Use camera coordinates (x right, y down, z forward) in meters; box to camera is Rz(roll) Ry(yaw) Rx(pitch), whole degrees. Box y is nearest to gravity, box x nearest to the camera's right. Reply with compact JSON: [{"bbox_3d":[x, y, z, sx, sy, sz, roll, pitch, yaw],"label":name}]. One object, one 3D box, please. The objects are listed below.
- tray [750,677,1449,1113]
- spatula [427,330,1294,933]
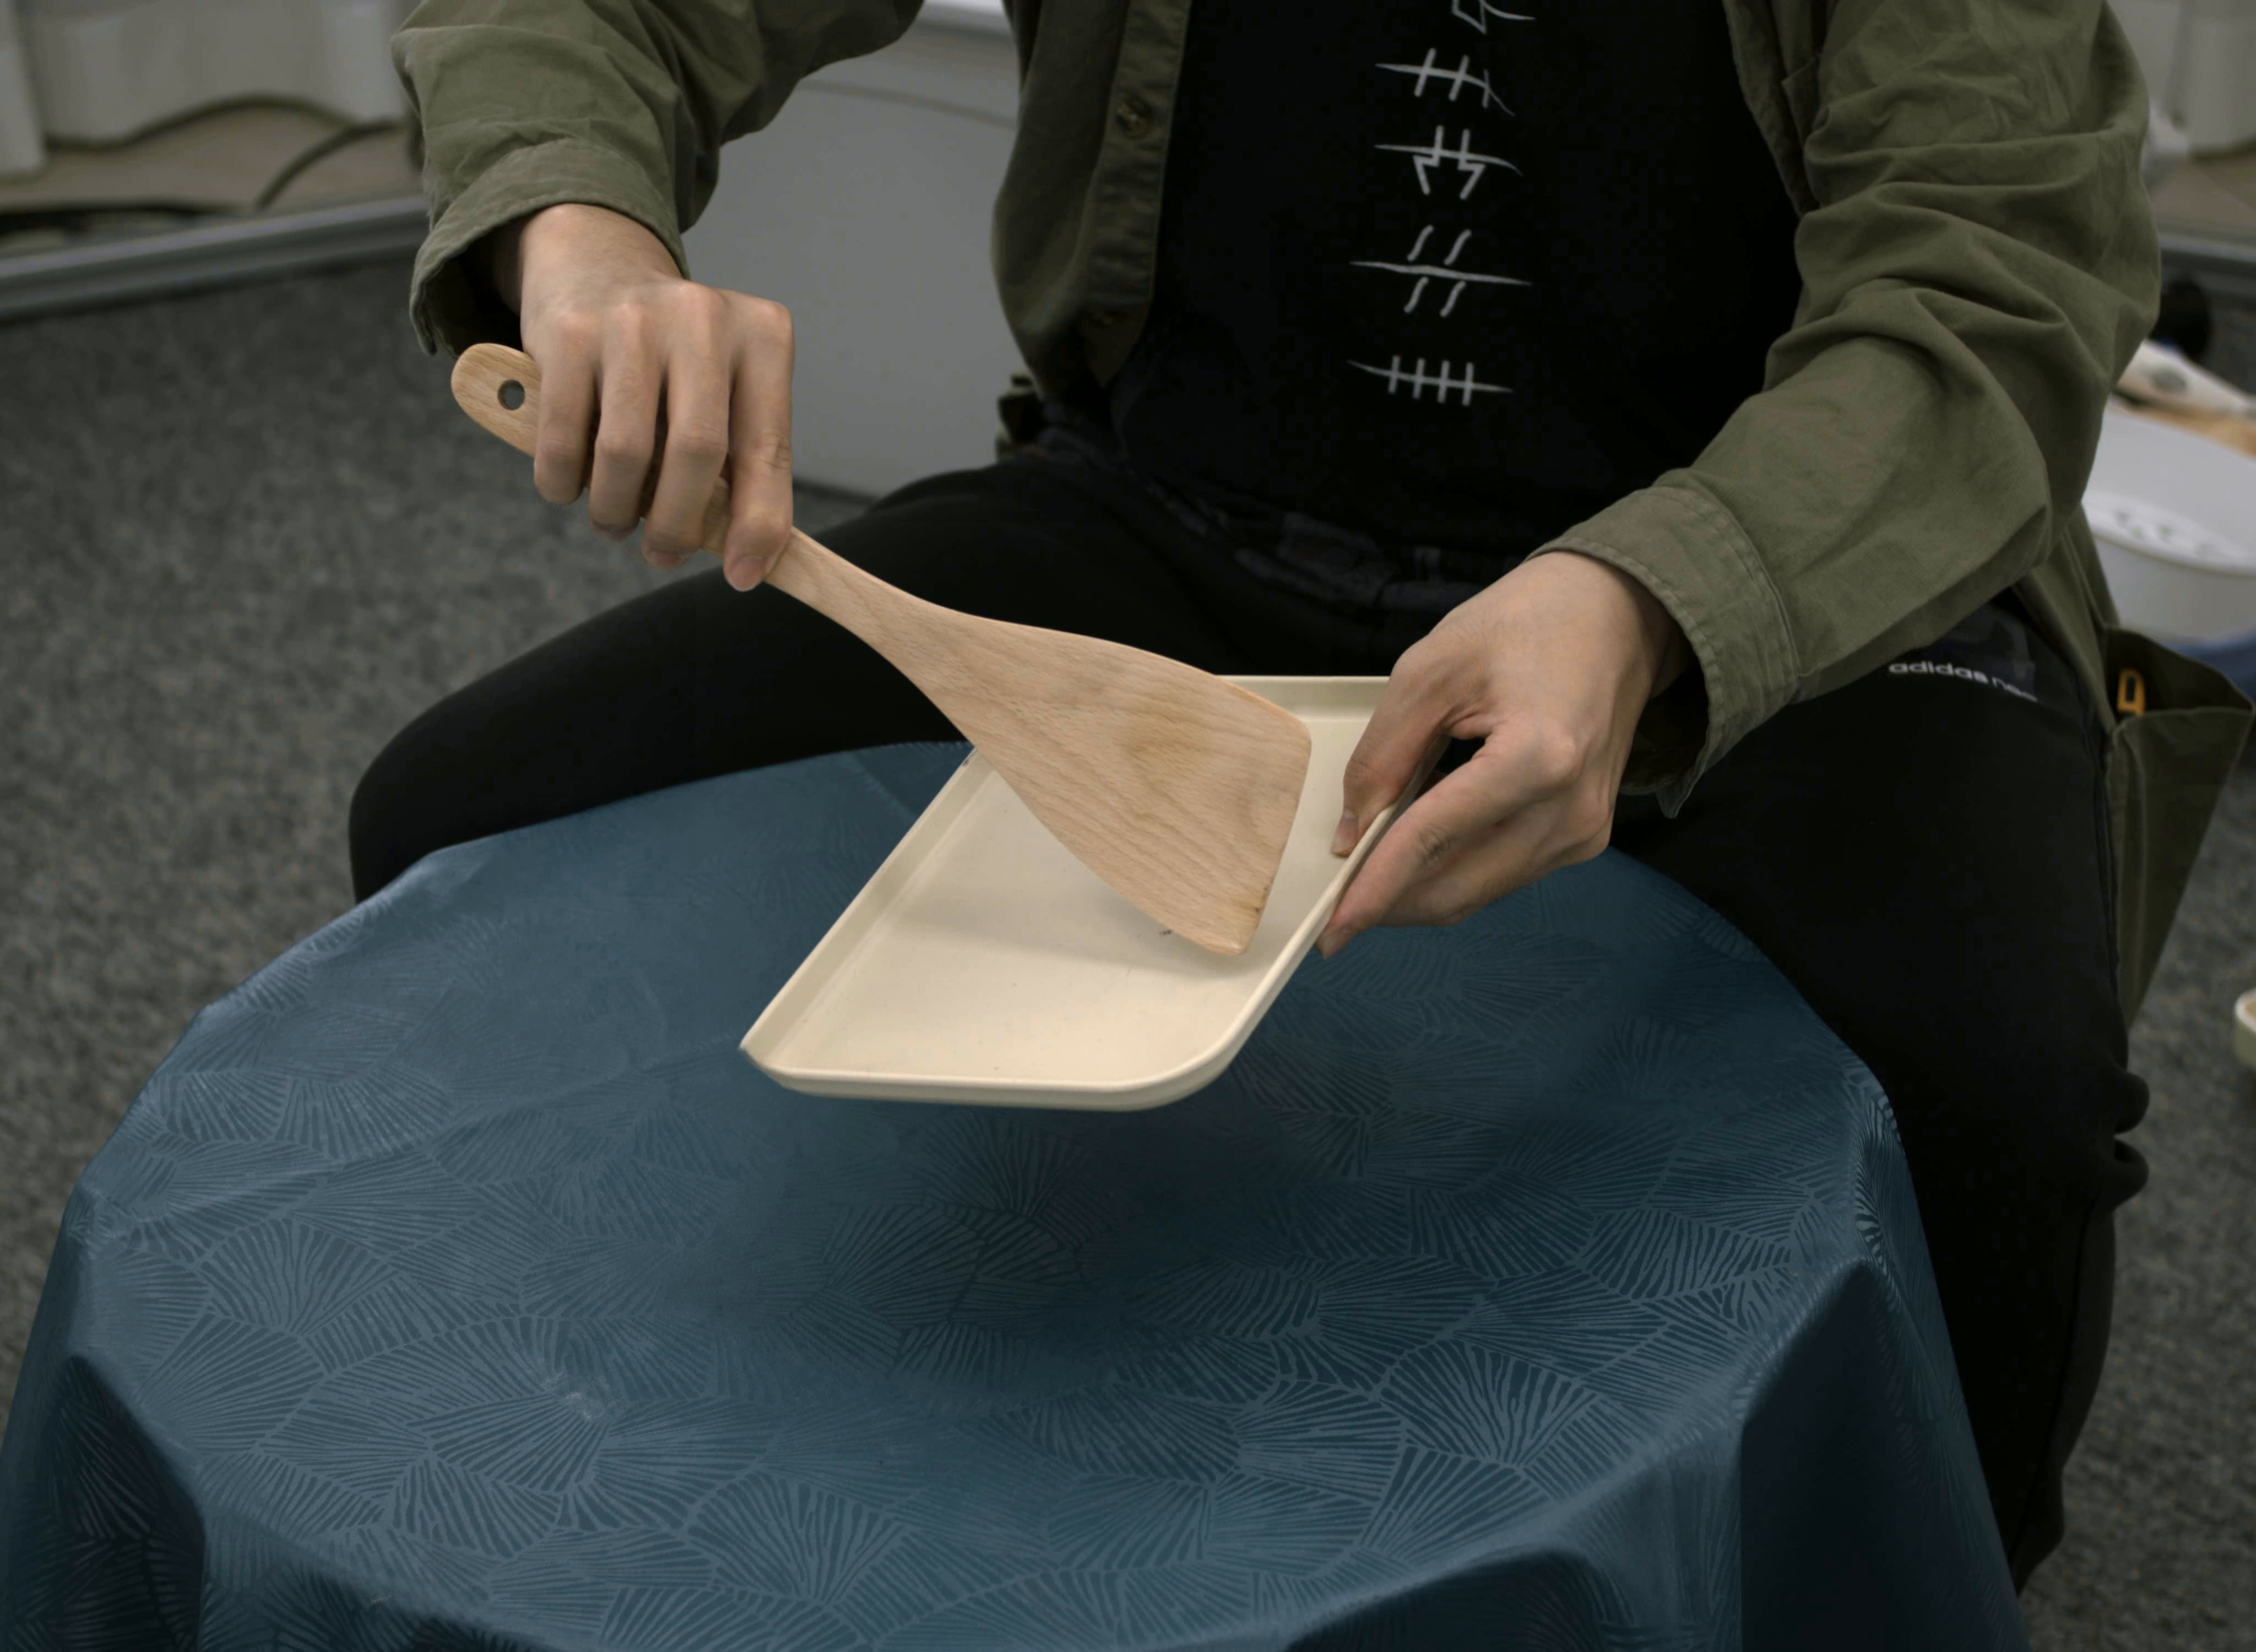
[{"bbox_3d":[-0.006,0.020,1.808,0.170,0.017,0.244,2,33,27],"label":"tray"},{"bbox_3d":[-0.089,-0.076,1.790,0.327,0.079,0.016,30,10,14],"label":"spatula"}]
